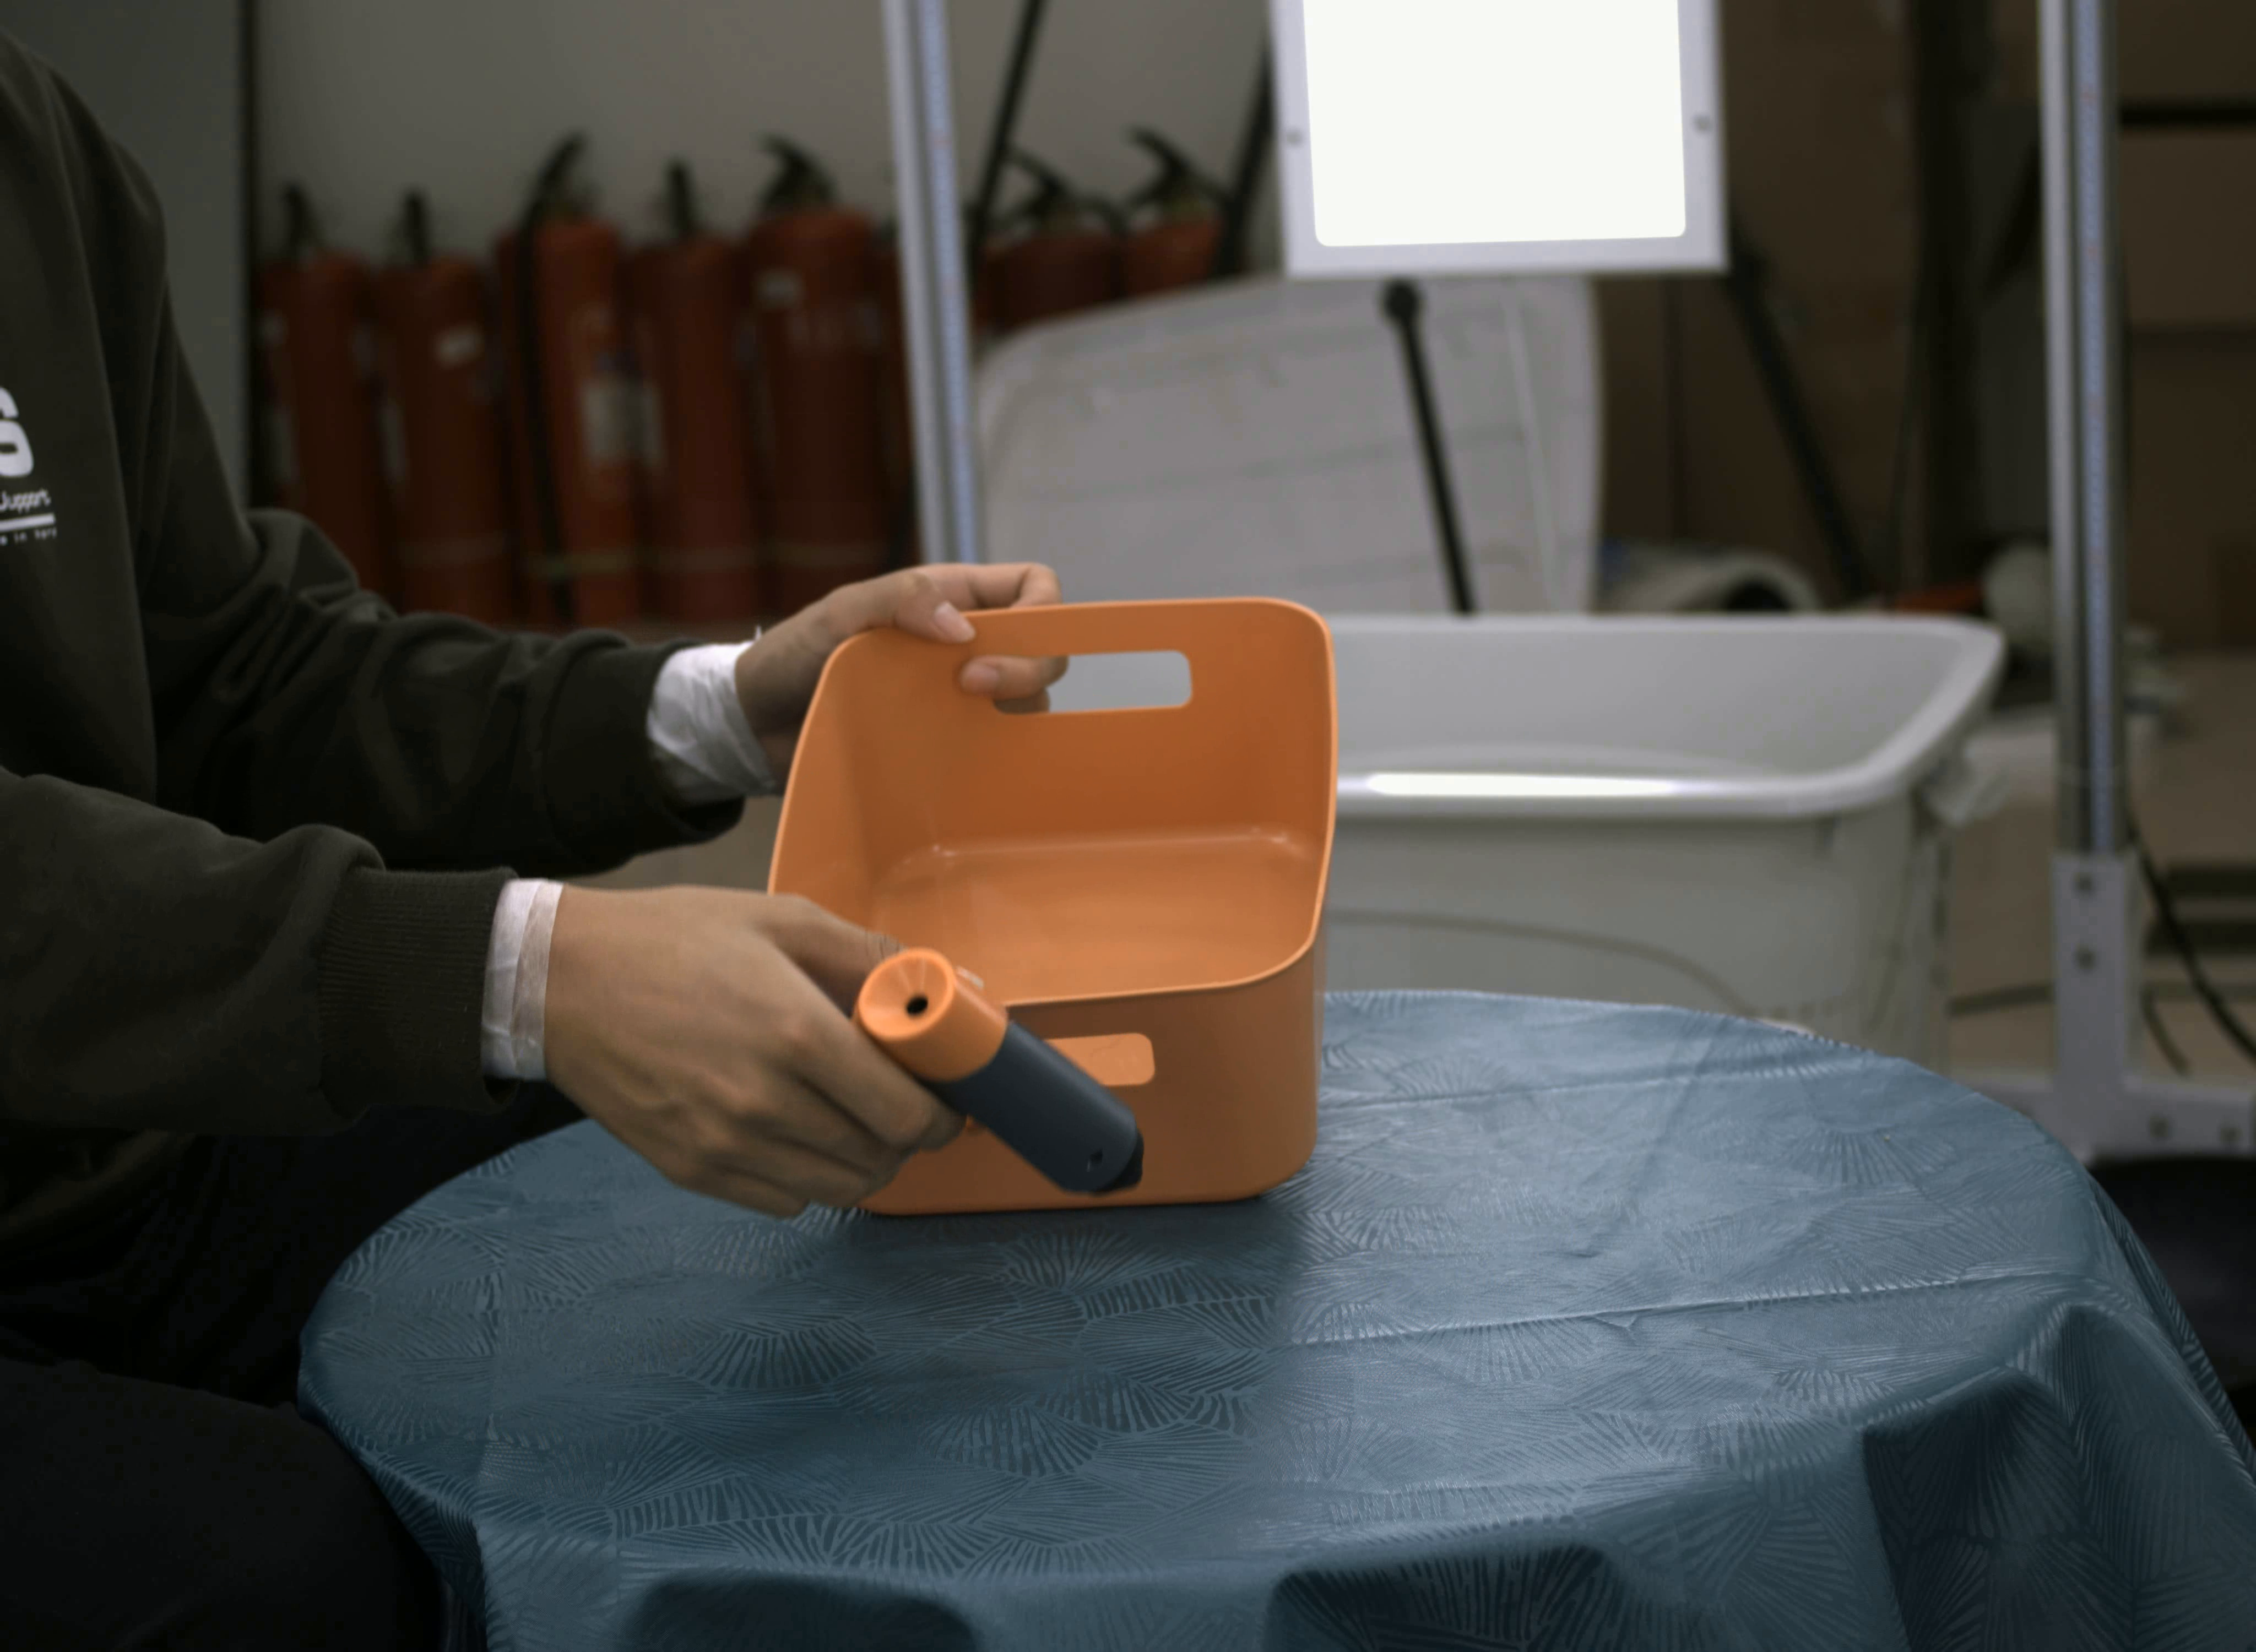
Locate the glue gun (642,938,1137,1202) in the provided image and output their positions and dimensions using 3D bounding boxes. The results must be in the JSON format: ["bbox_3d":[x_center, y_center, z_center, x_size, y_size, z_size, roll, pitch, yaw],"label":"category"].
[{"bbox_3d":[-0.074,0.081,1.741,0.142,0.117,0.040,1,54,26],"label":"glue gun"}]

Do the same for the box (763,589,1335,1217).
[{"bbox_3d":[-0.020,0.029,1.965,0.200,0.103,0.271,-4,31,7],"label":"box"}]
